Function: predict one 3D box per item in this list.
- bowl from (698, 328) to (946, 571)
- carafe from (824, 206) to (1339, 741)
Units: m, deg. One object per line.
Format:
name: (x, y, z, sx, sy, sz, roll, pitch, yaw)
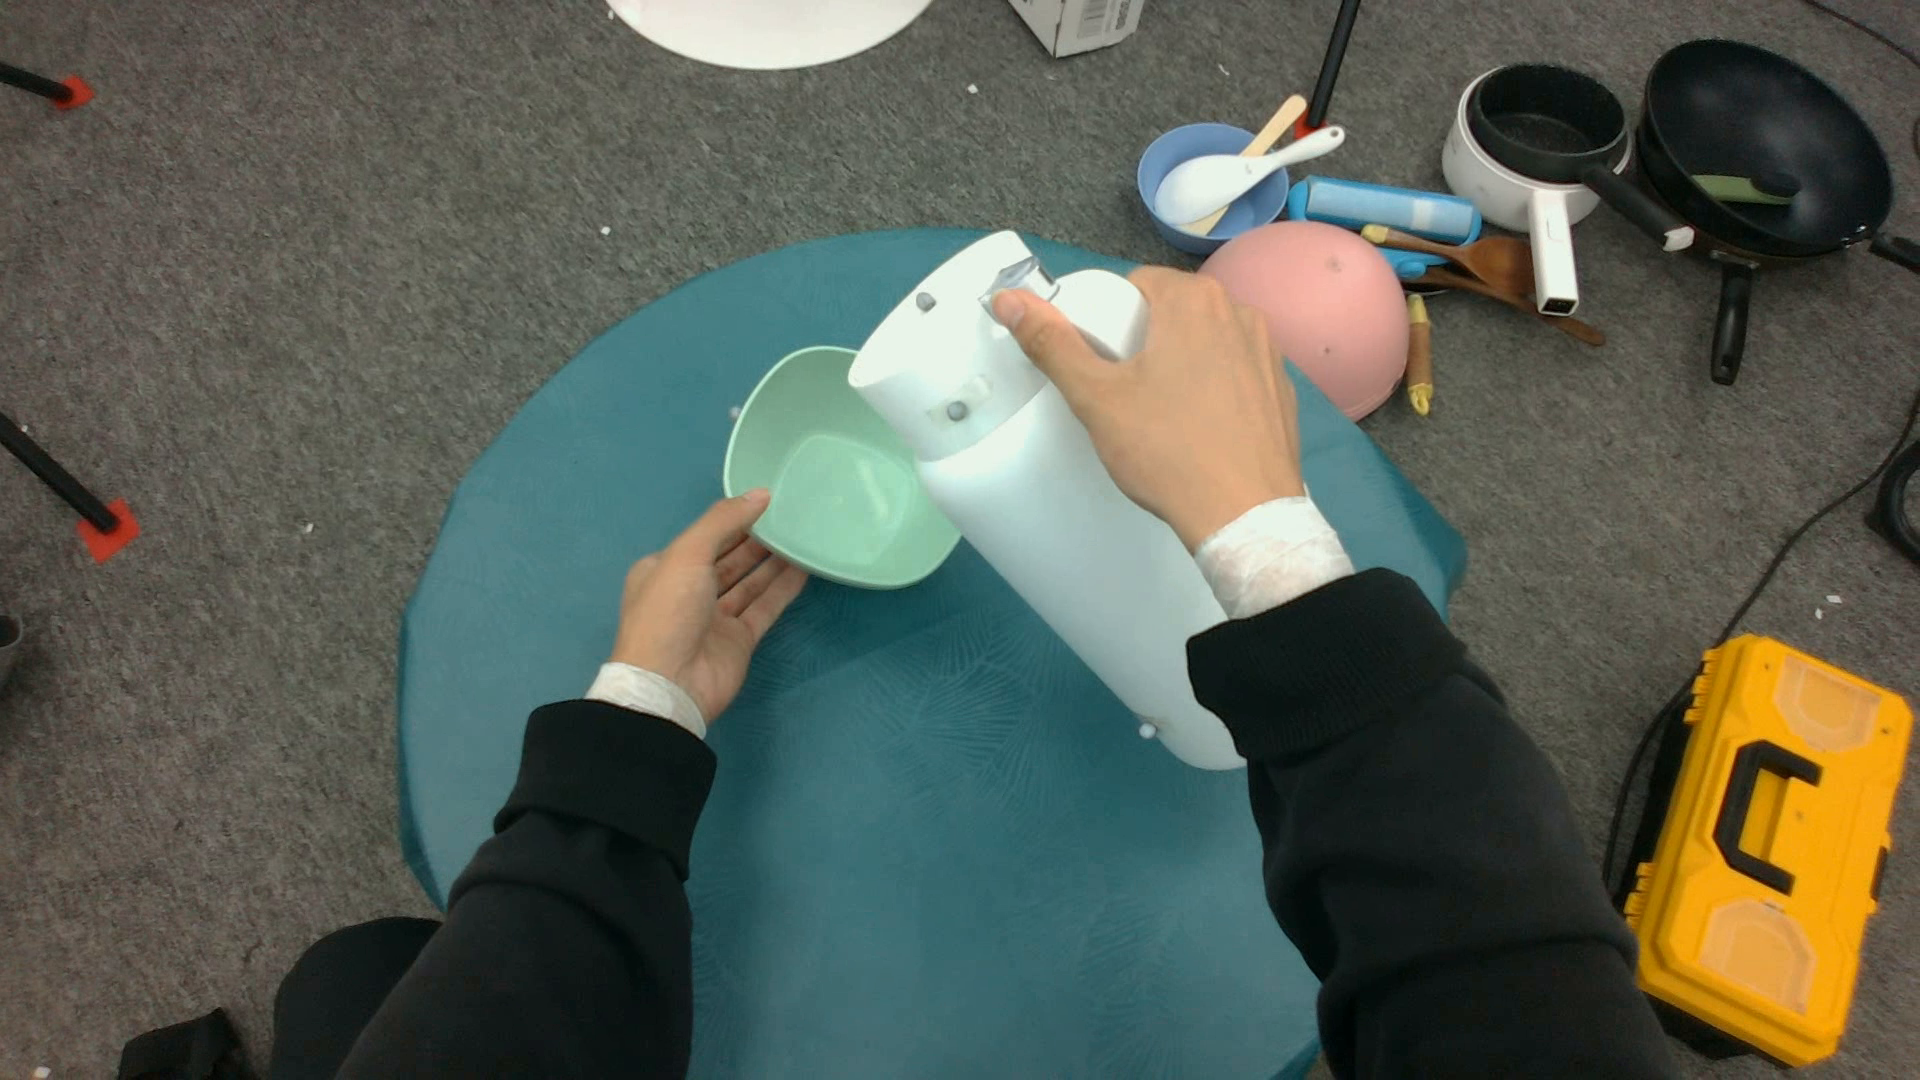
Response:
bowl: (-0.076, -0.043, 0.778, 0.151, 0.058, 0.152, 6, 65, -14)
carafe: (0.071, -0.029, 0.643, 0.268, 0.172, 0.124, 47, 62, -22)
